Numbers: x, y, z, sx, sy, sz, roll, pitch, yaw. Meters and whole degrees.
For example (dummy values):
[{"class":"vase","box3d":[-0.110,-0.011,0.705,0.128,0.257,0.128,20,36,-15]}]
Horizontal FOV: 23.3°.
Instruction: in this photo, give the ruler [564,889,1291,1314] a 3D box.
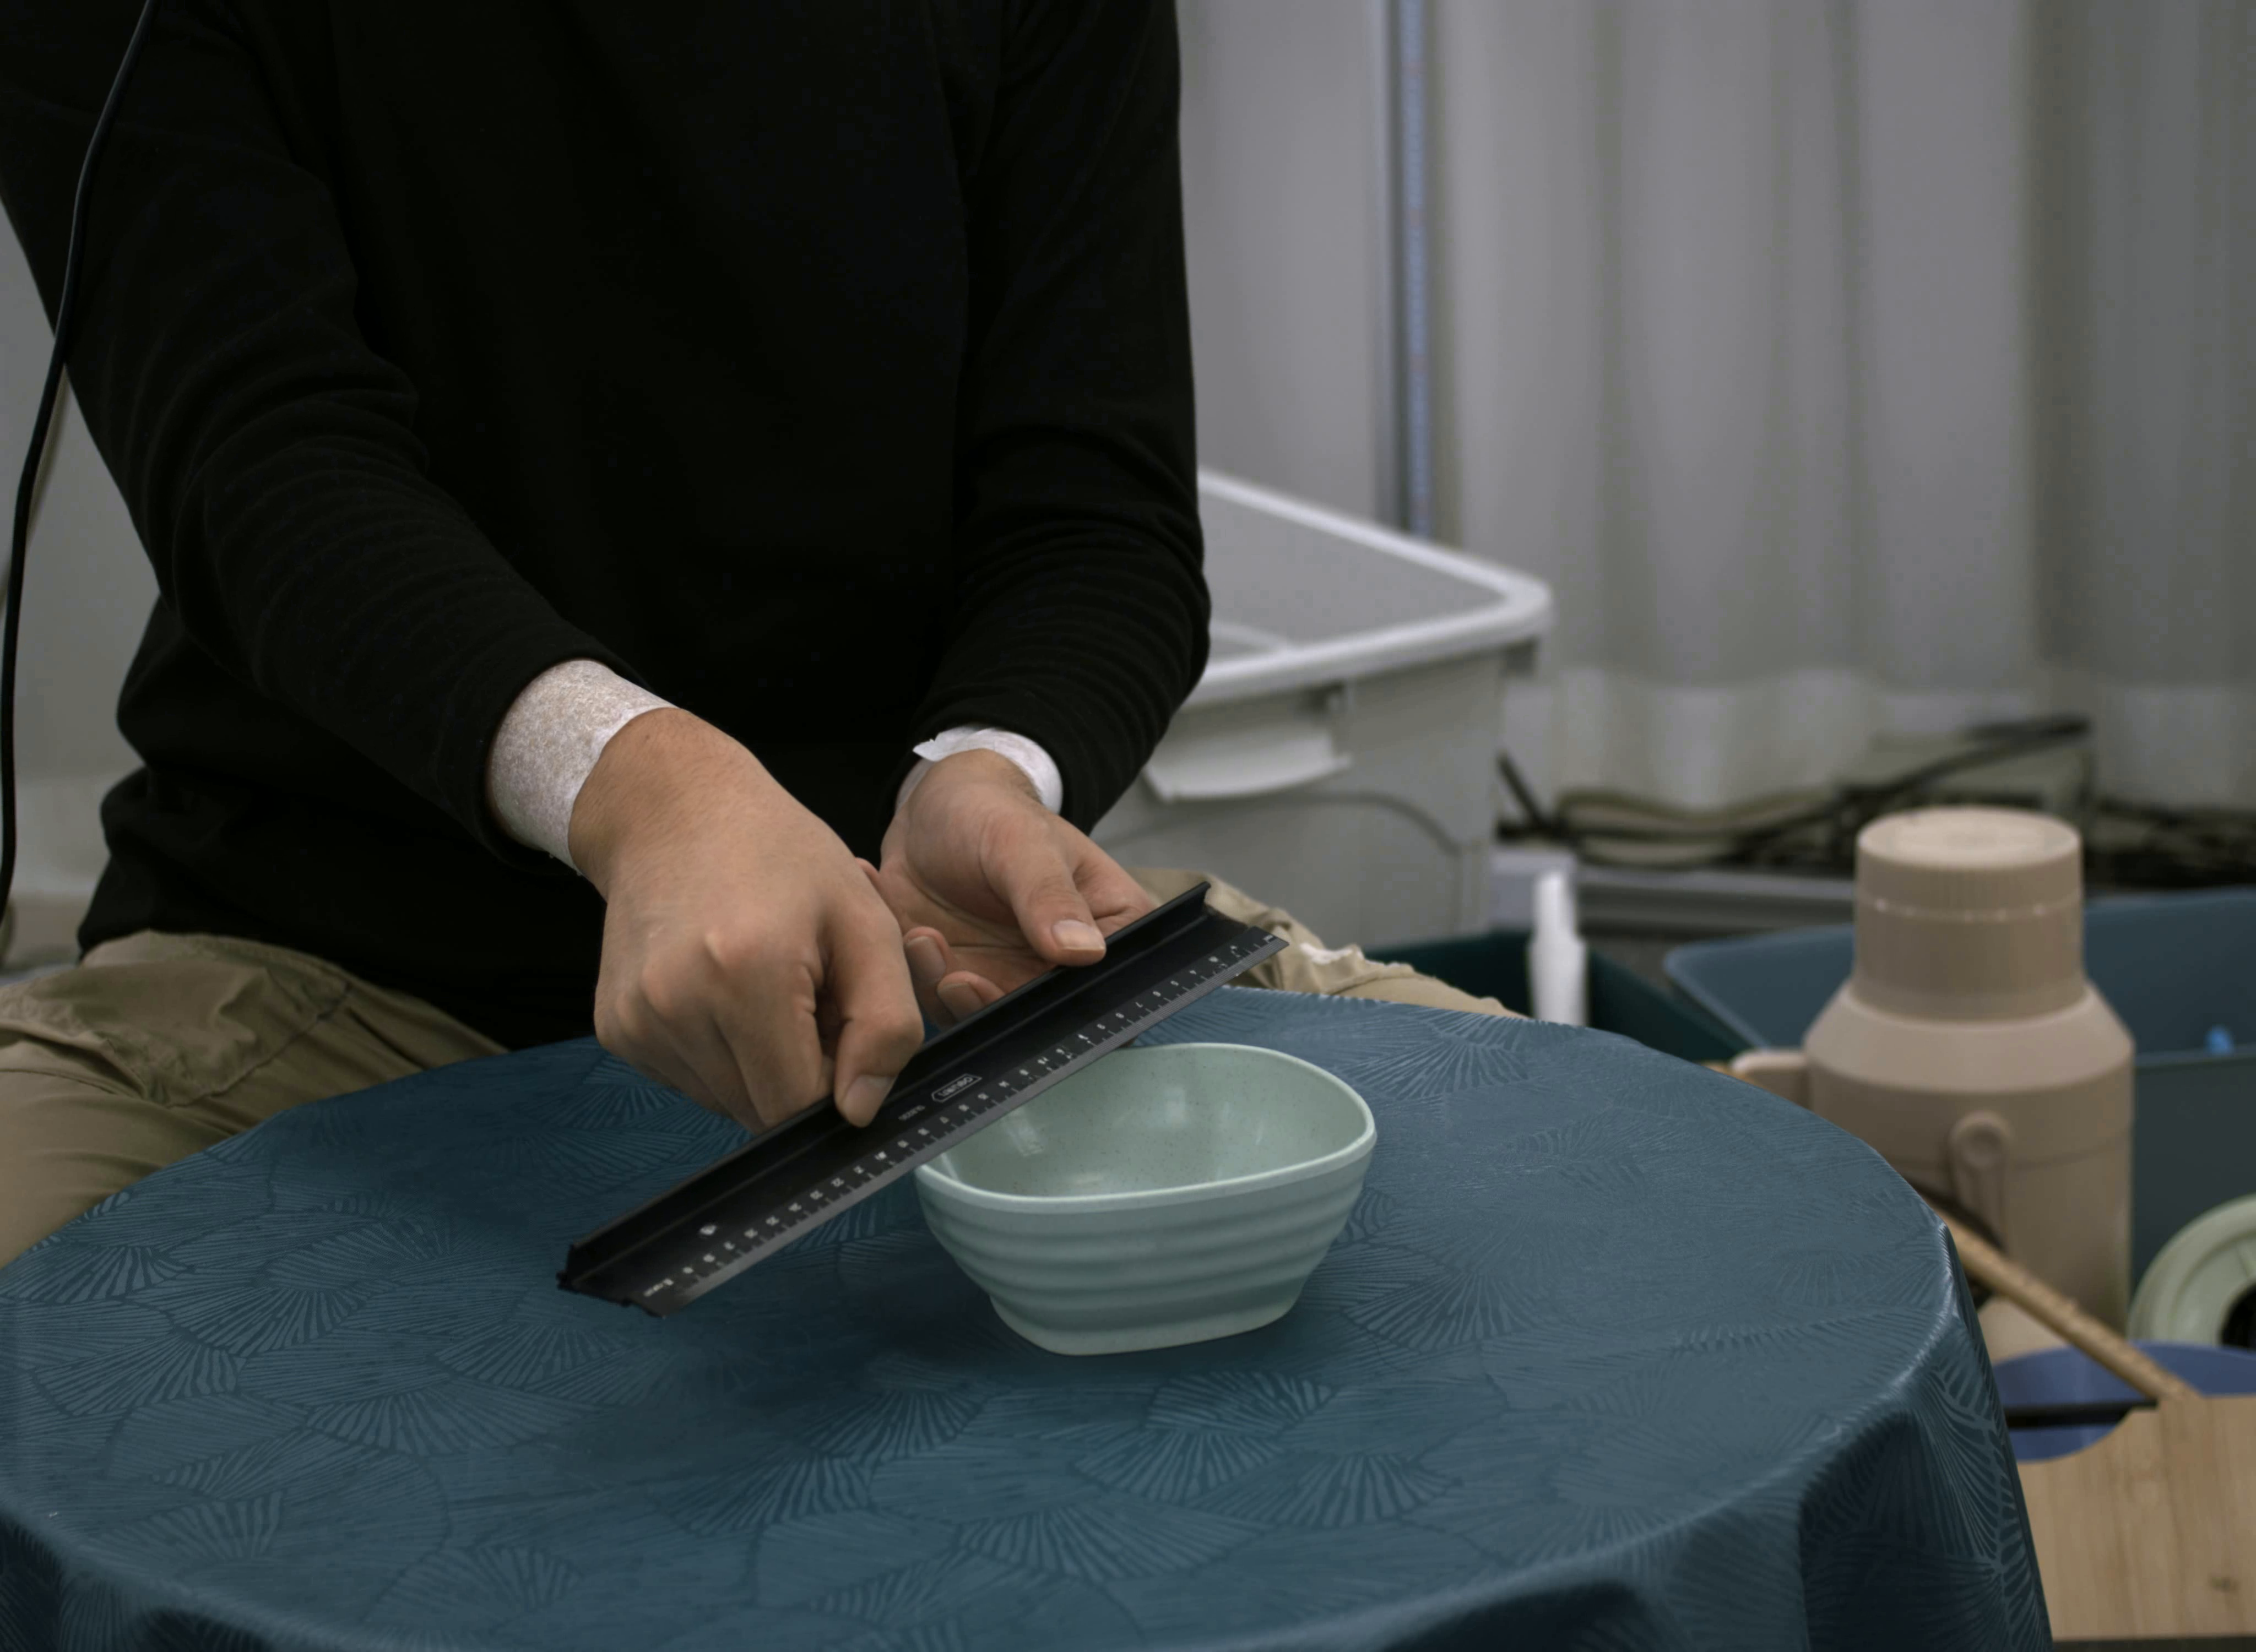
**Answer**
[{"class":"ruler","box3d":[-0.052,0.076,1.605,0.039,0.017,0.313,15,27,32]}]

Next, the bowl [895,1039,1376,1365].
[{"class":"bowl","box3d":[0.002,0.114,1.610,0.151,0.058,0.152,-3,16,1]}]
